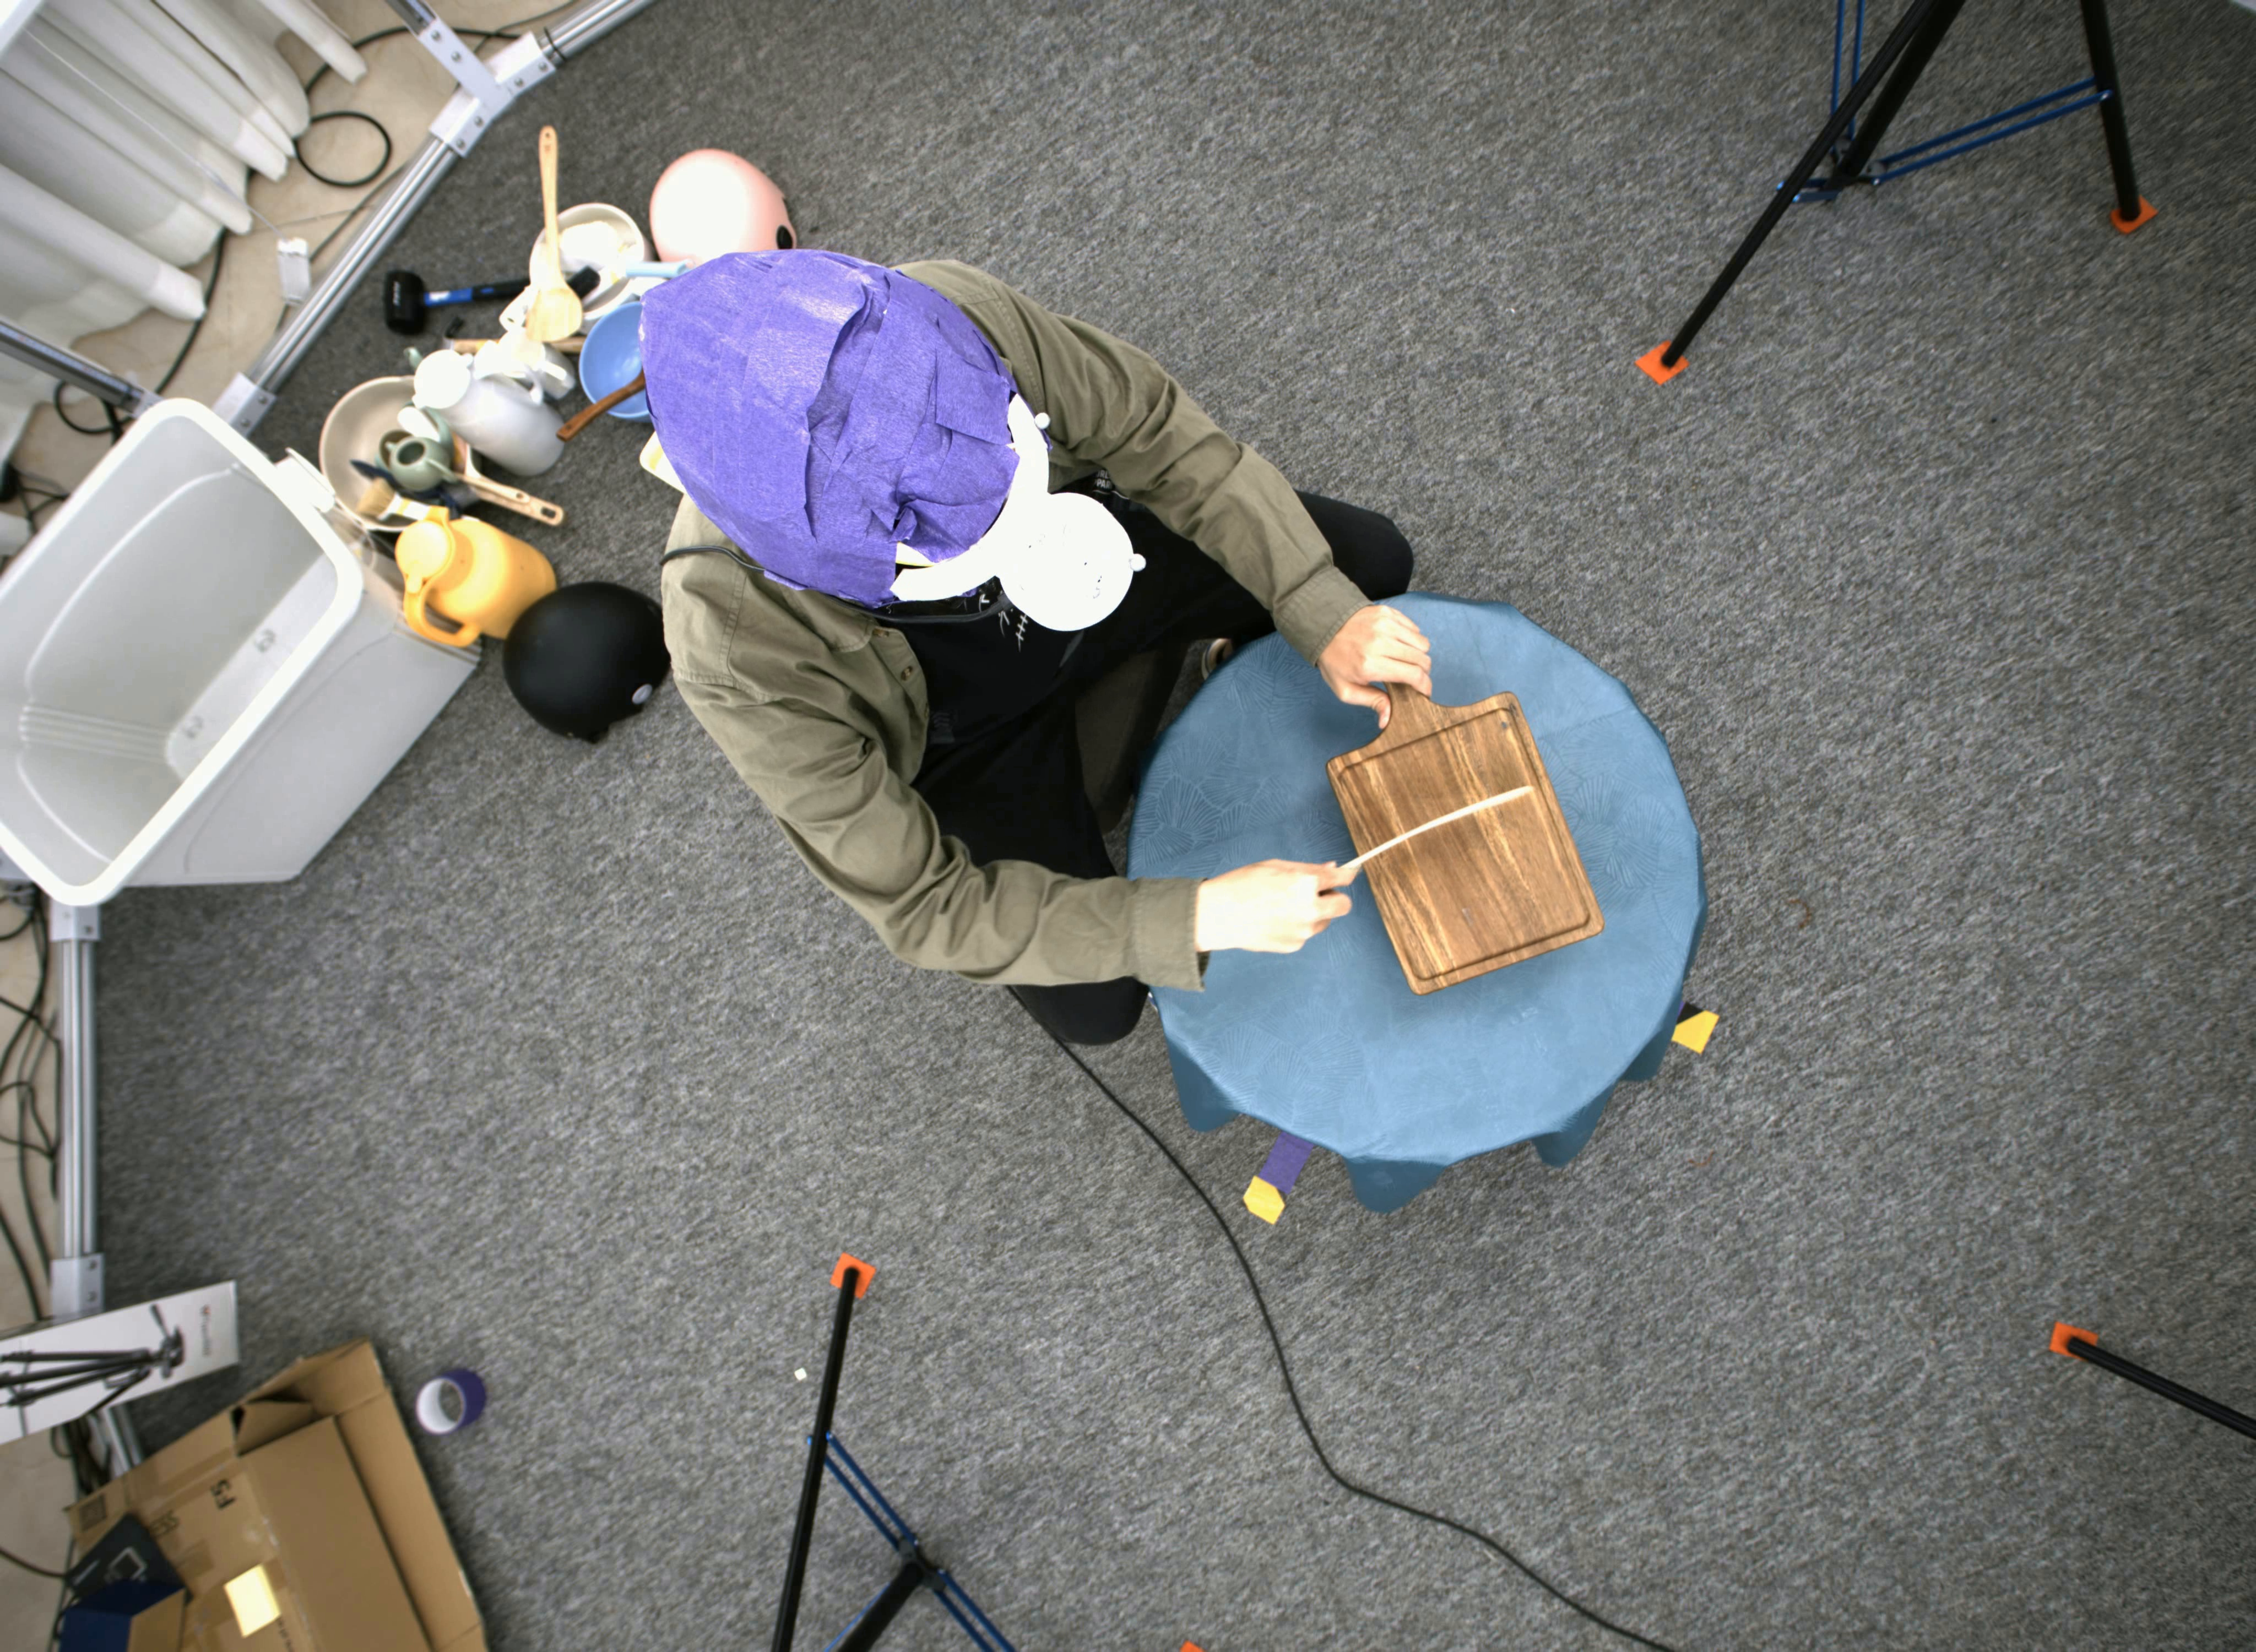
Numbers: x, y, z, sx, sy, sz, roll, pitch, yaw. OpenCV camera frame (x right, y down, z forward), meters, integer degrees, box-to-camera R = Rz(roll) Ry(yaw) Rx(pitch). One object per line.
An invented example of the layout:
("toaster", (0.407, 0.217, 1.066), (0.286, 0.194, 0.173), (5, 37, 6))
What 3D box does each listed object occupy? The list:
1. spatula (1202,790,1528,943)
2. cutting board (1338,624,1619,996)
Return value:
("spatula", (0.214, 0.033, 1.236), (0.327, 0.080, 0.016), (-26, 85, -4))
("cutting board", (0.320, -0.030, 1.327), (0.203, 0.023, 0.352), (-20, 91, 16))
